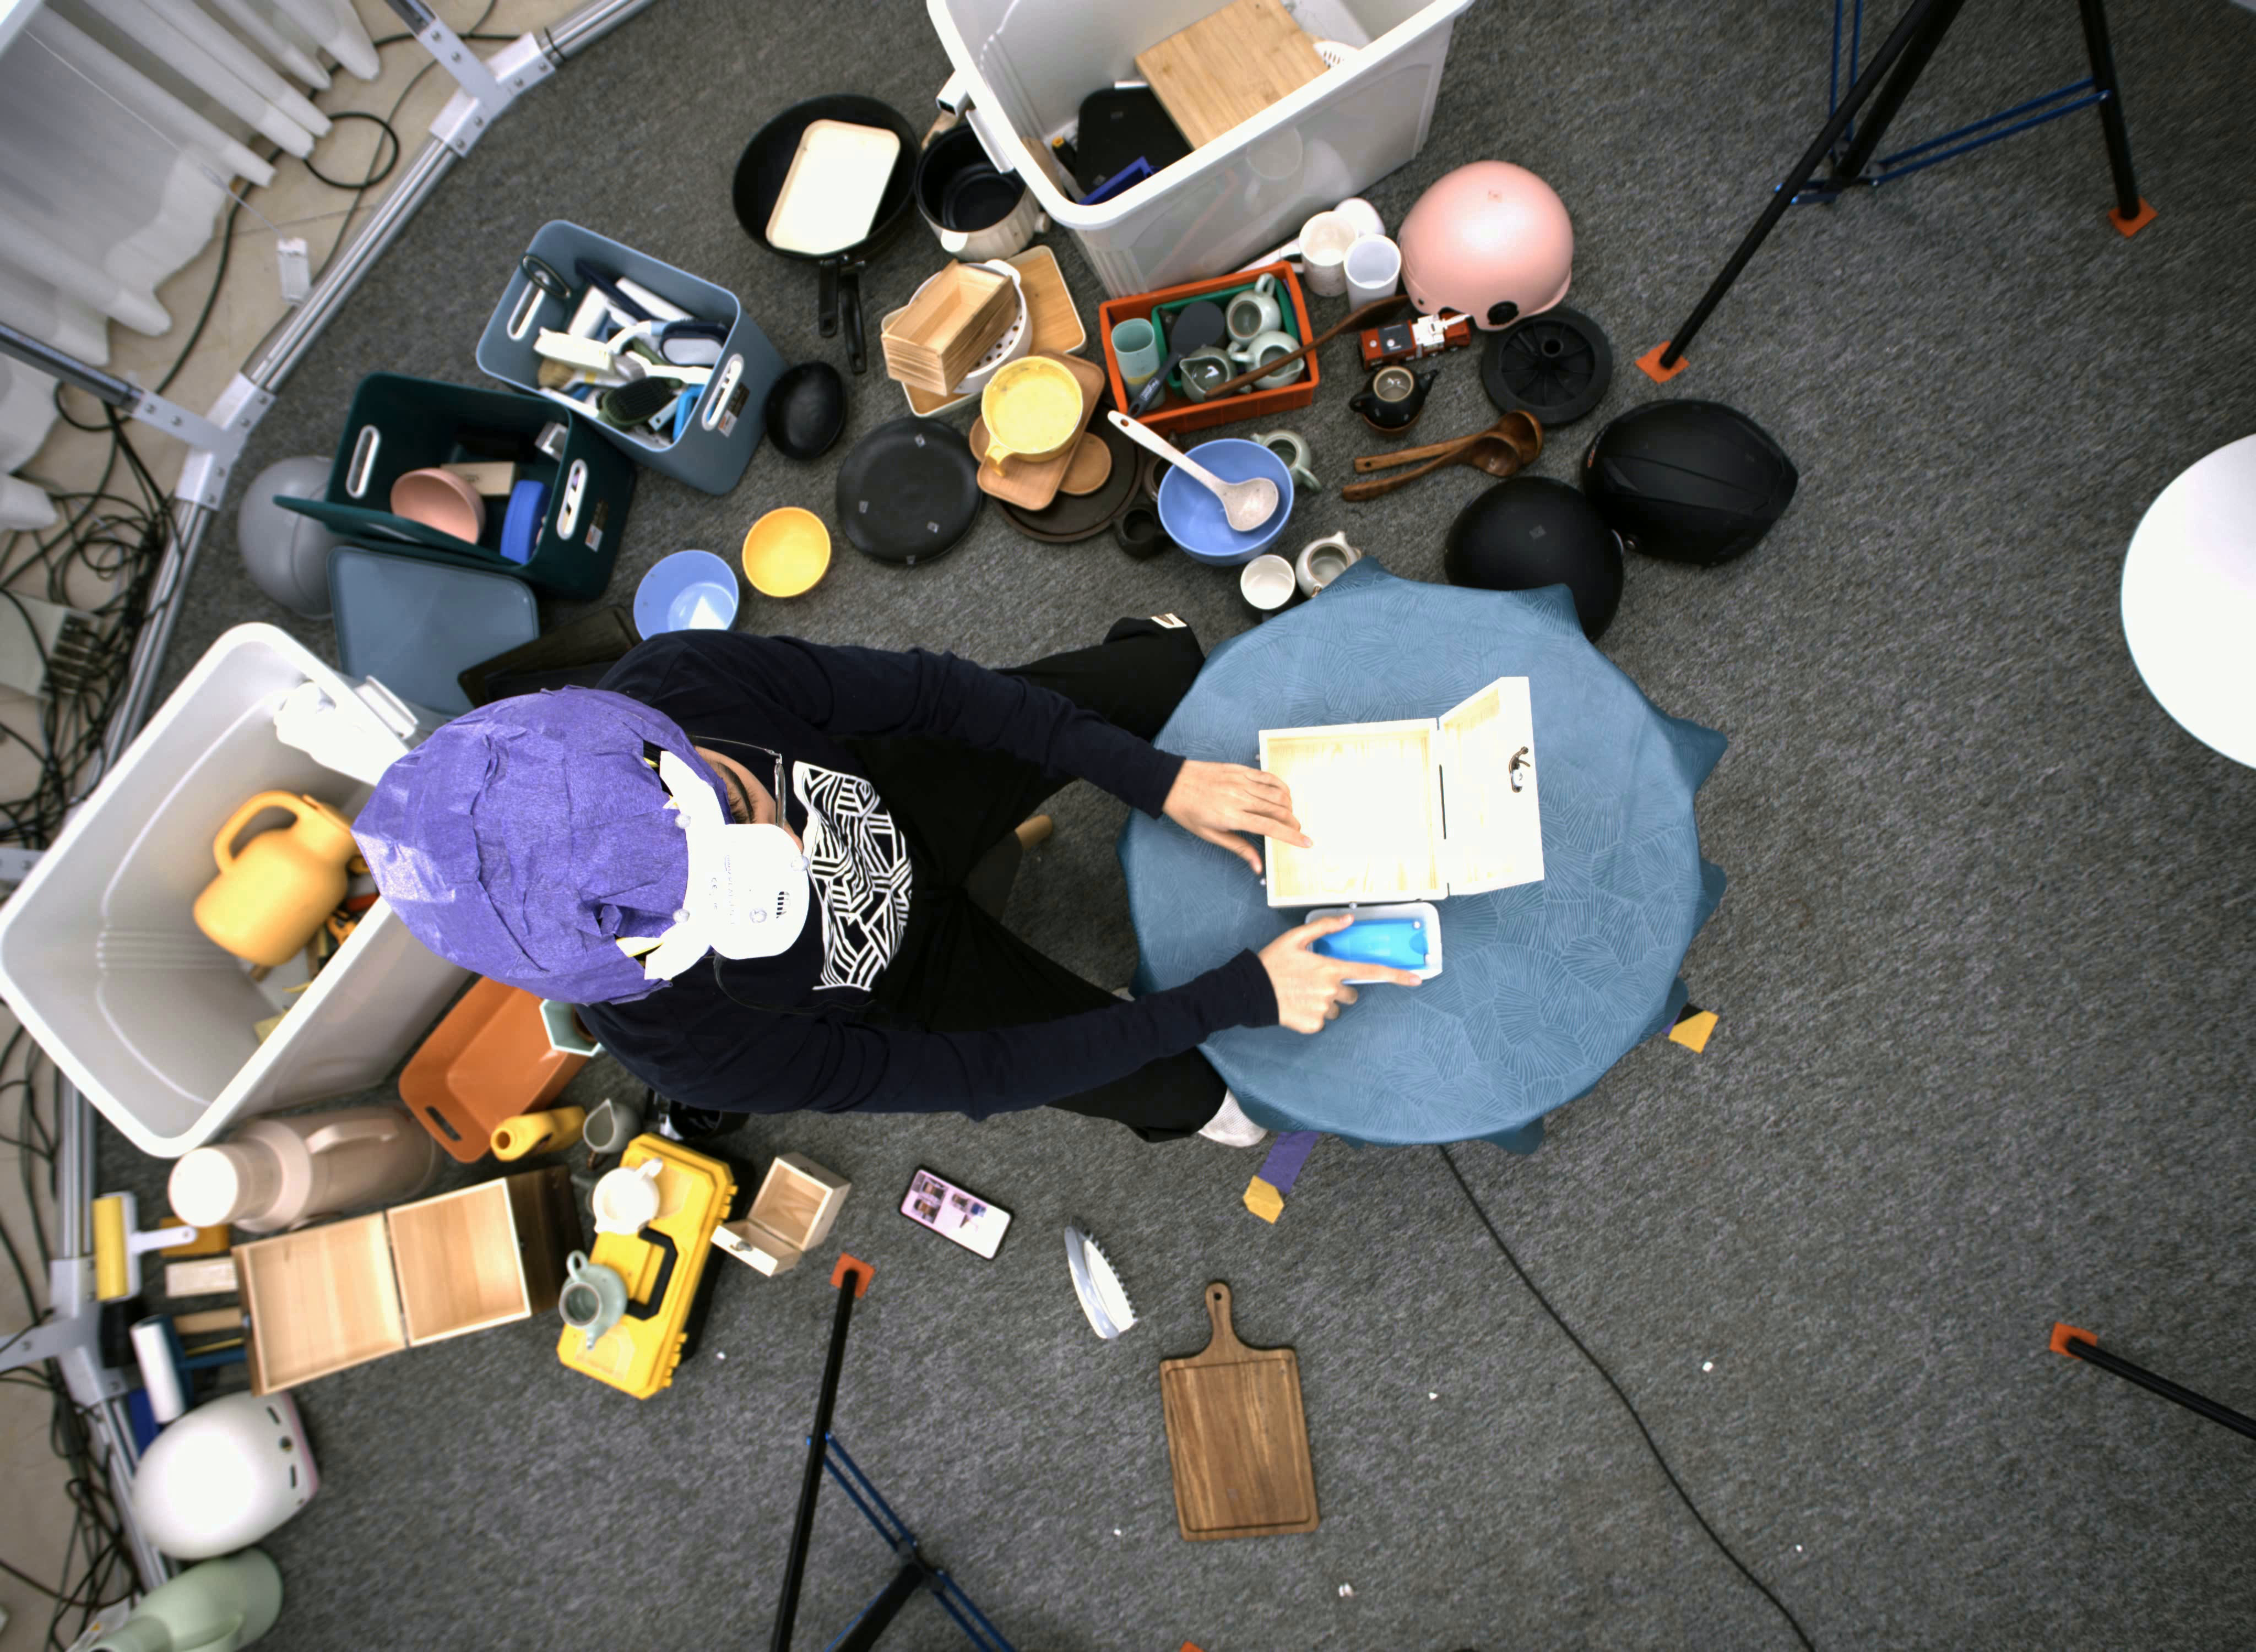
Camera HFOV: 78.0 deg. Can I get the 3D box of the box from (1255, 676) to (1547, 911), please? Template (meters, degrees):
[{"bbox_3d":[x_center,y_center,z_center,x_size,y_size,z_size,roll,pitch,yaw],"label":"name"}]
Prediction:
[{"bbox_3d":[0.250,-0.022,1.339,0.266,0.253,0.180,-5,84,10],"label":"box"}]

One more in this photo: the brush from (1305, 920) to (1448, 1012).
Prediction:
[{"bbox_3d":[0.256,0.139,1.432,0.144,0.056,0.083,-11,75,6],"label":"brush"}]
